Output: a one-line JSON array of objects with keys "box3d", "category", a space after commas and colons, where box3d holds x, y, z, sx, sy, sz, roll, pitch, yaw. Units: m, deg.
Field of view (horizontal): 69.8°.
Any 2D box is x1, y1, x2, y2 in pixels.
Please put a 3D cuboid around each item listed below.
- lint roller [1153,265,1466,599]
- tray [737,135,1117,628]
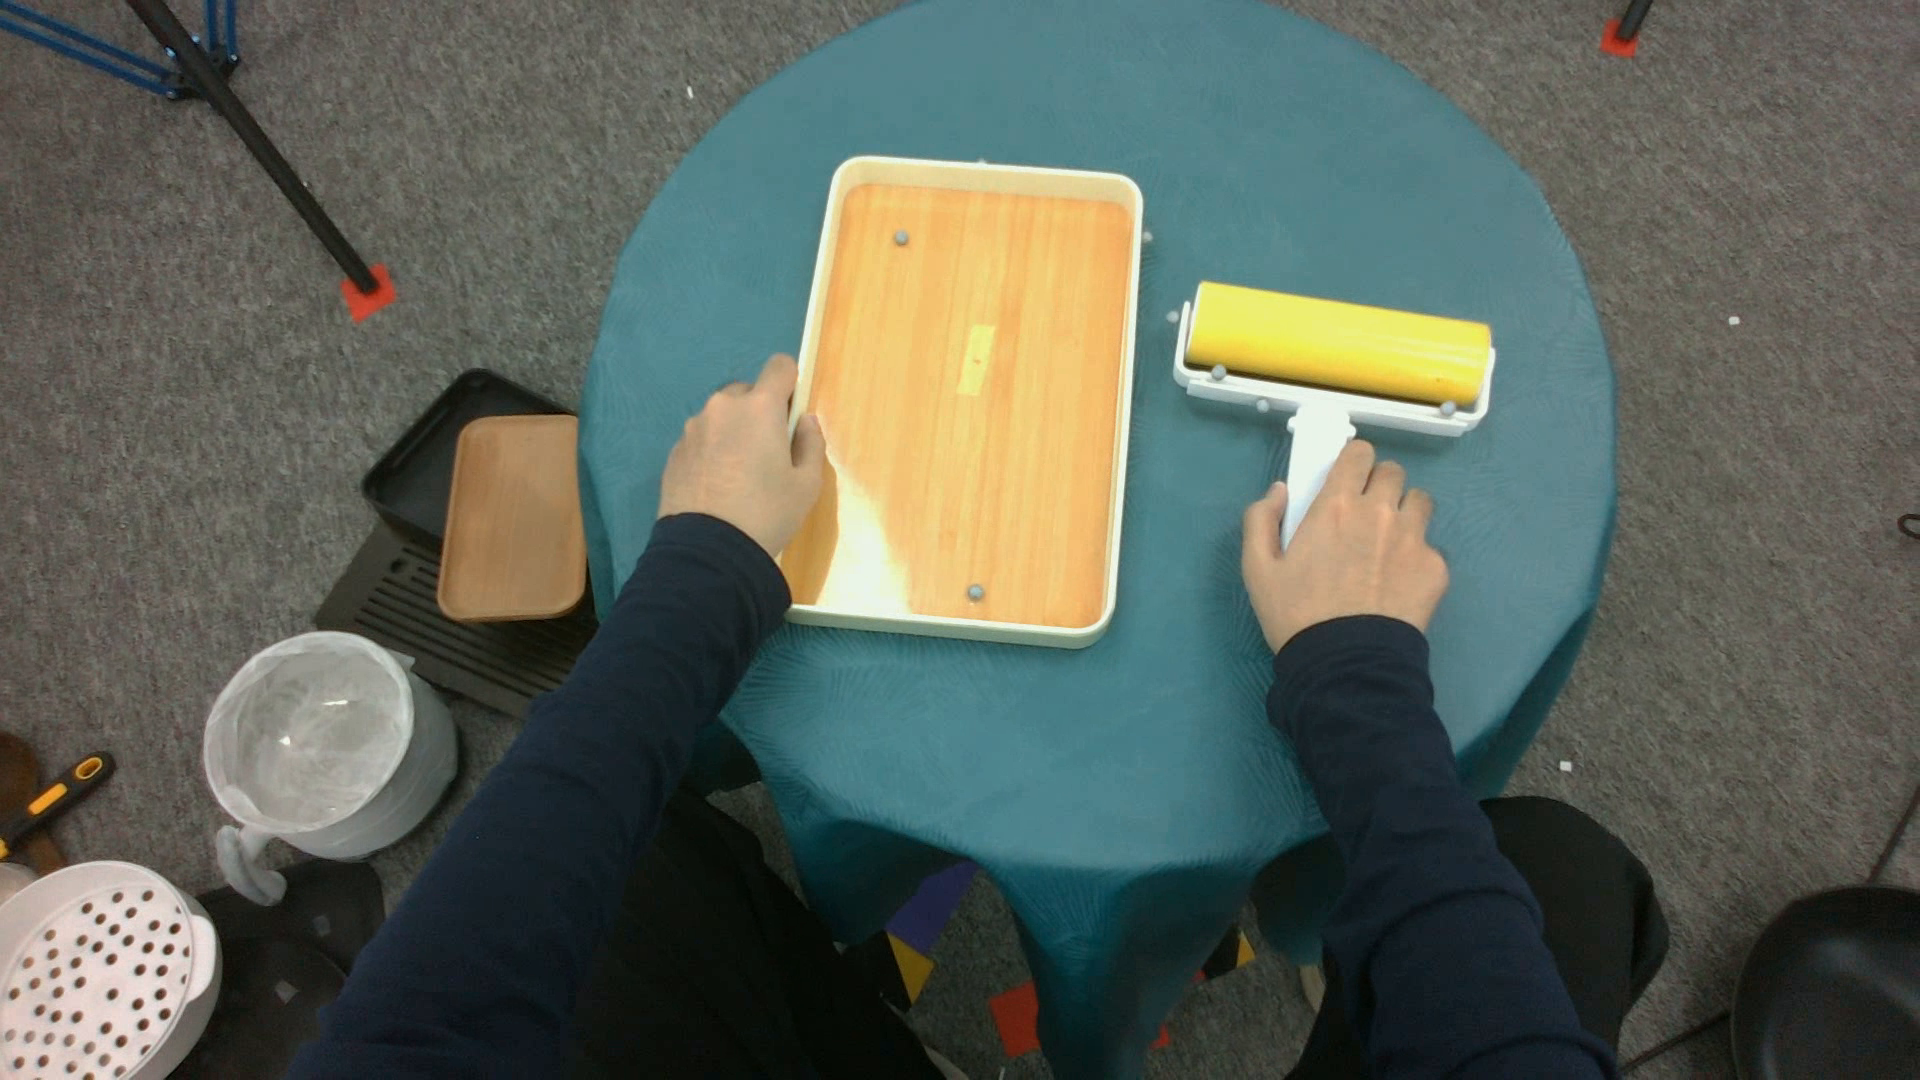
[{"box3d": [0.187, -0.062, 0.754, 0.174, 0.051, 0.193, 8, 59, 5], "category": "lint roller"}, {"box3d": [-0.012, -0.100, 0.791, 0.191, 0.027, 0.301, 5, 67, 3], "category": "tray"}]
